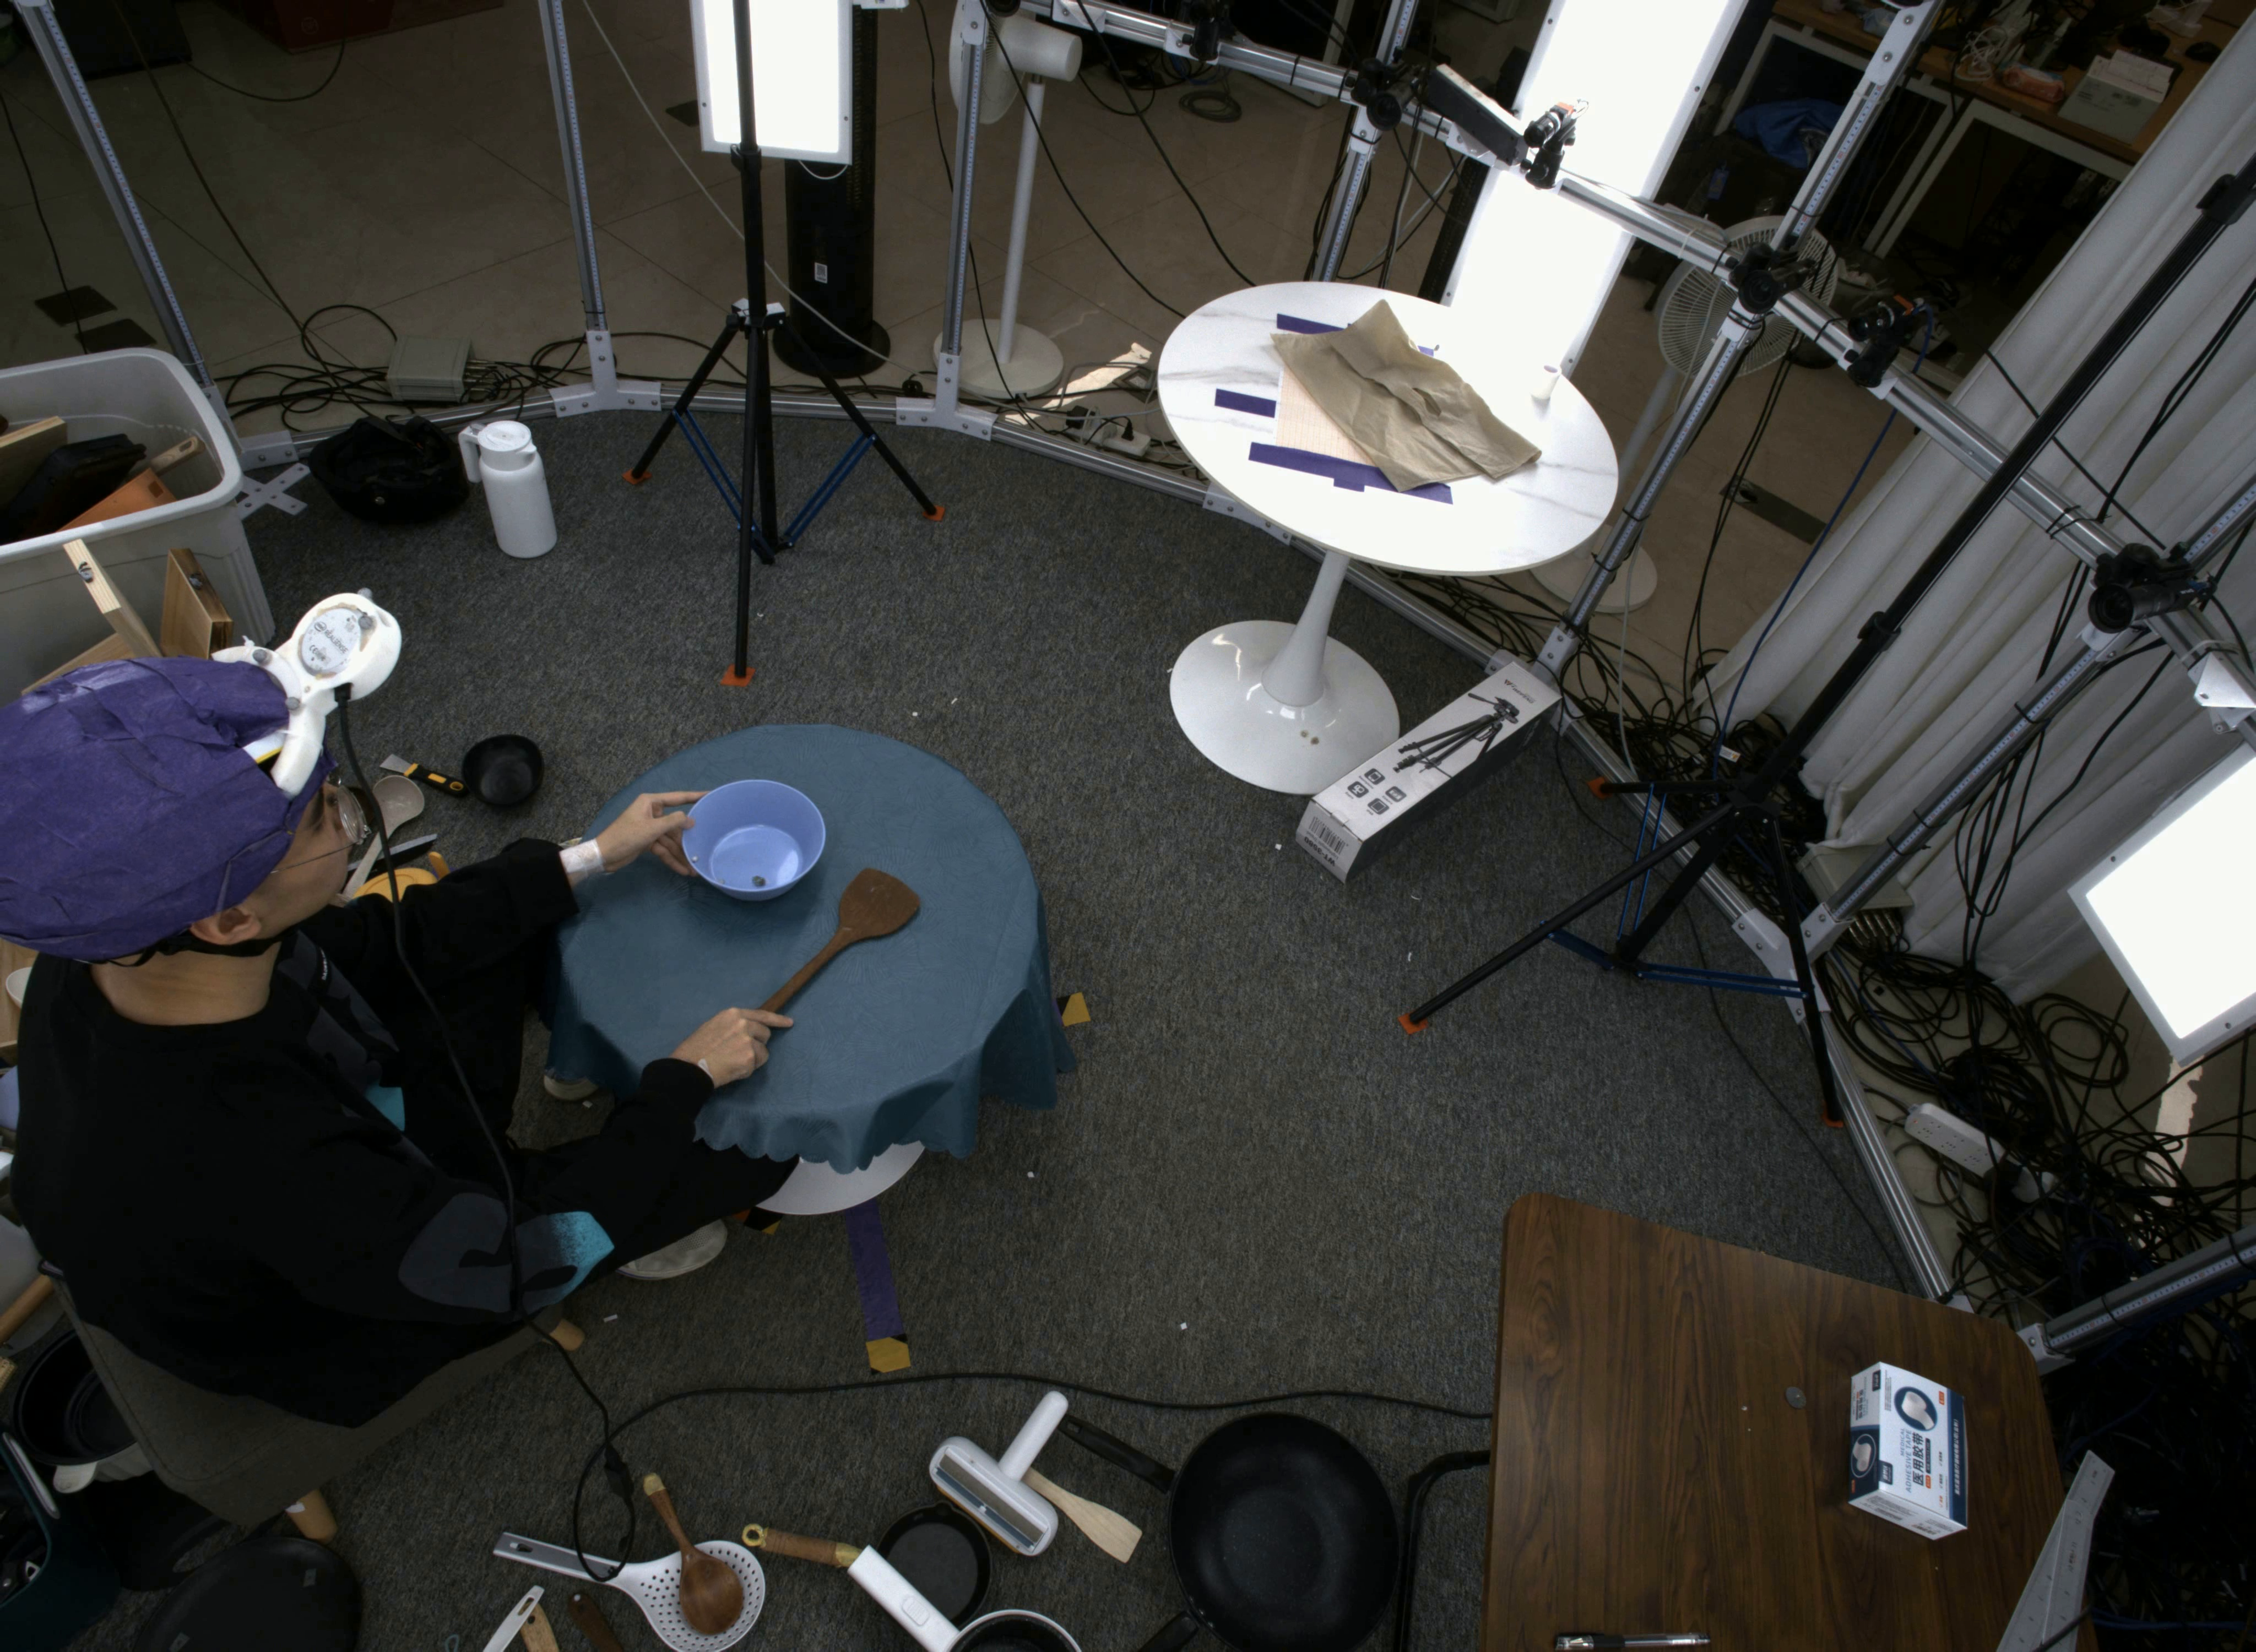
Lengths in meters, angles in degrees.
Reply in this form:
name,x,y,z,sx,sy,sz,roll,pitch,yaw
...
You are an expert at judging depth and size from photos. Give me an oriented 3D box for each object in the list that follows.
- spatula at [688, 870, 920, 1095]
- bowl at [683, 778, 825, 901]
name,x,y,z,sx,sy,sz,roll,pitch,yaw
spatula,-0.398,0.185,1.582,0.094,0.016,0.385,32,50,11
bowl,-0.474,0.027,1.651,0.175,0.072,0.173,7,53,-8
